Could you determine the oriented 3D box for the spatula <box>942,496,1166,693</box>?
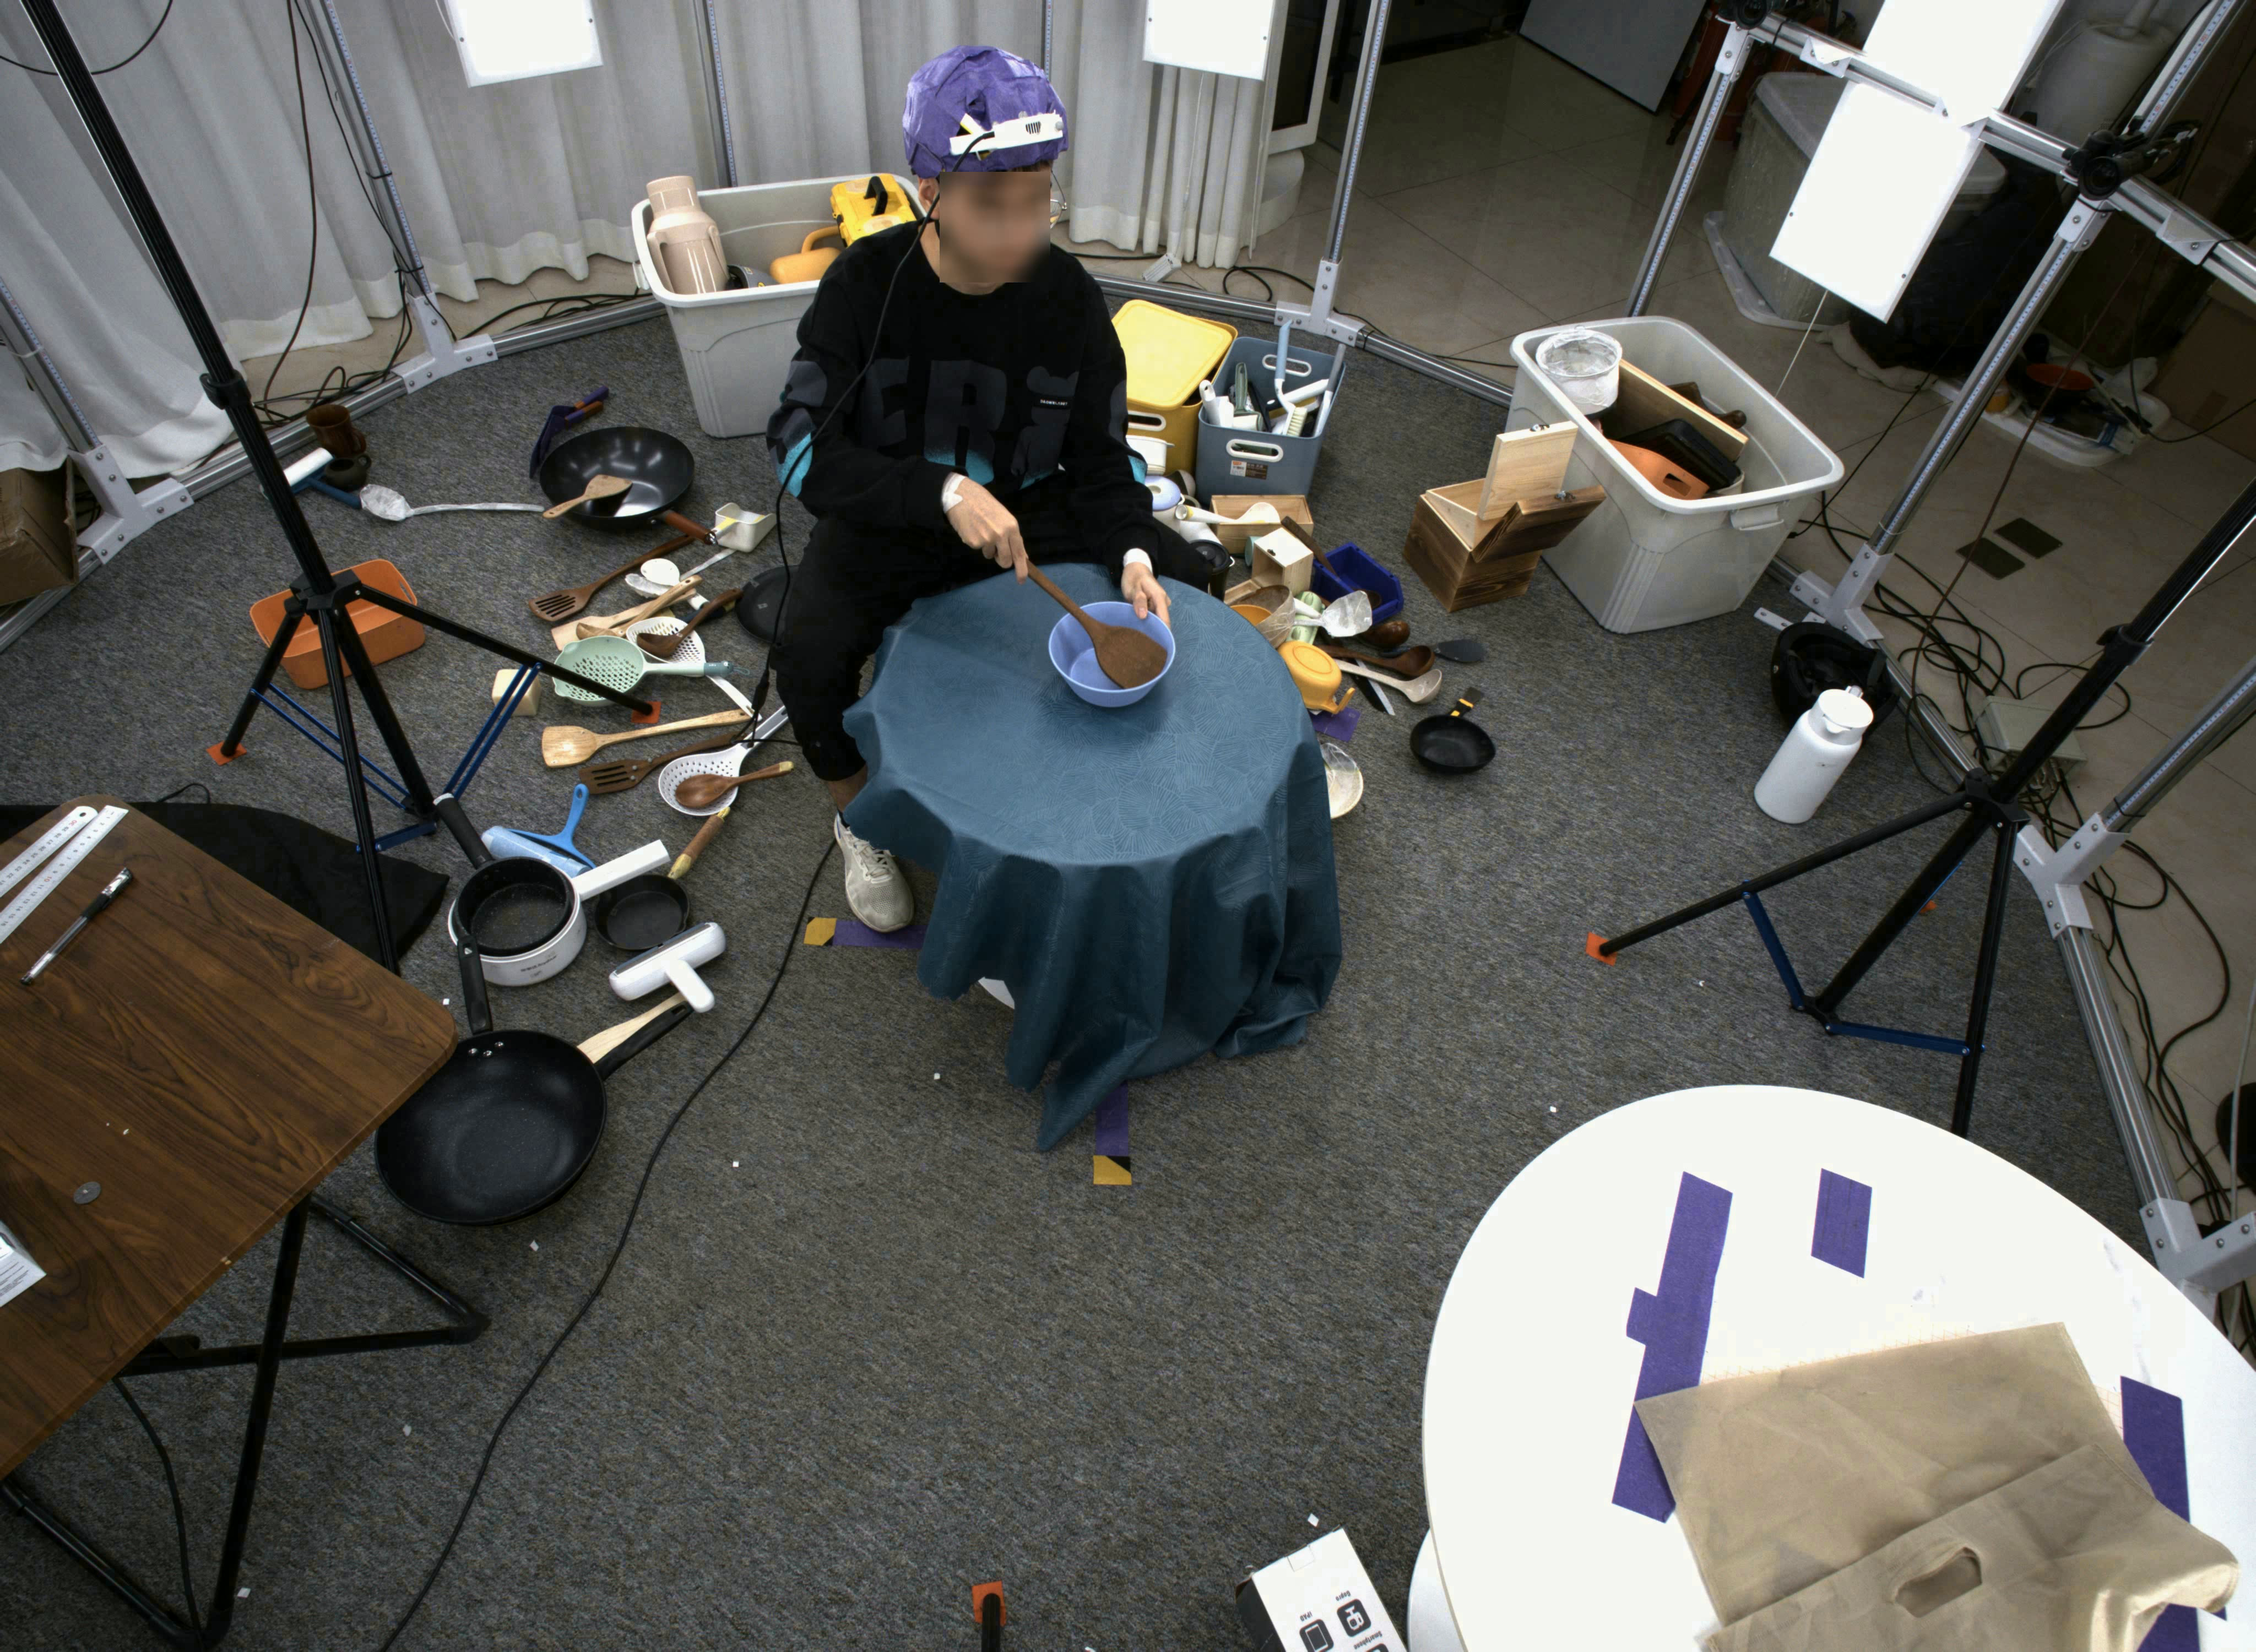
[{"bbox_3d":[-0.108,-0.331,1.799,0.385,0.015,0.097,41,62,-3],"label":"spatula"}]

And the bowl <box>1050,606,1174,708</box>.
[{"bbox_3d":[-0.023,-0.232,1.834,0.176,0.068,0.180,1,49,-1],"label":"bowl"}]
